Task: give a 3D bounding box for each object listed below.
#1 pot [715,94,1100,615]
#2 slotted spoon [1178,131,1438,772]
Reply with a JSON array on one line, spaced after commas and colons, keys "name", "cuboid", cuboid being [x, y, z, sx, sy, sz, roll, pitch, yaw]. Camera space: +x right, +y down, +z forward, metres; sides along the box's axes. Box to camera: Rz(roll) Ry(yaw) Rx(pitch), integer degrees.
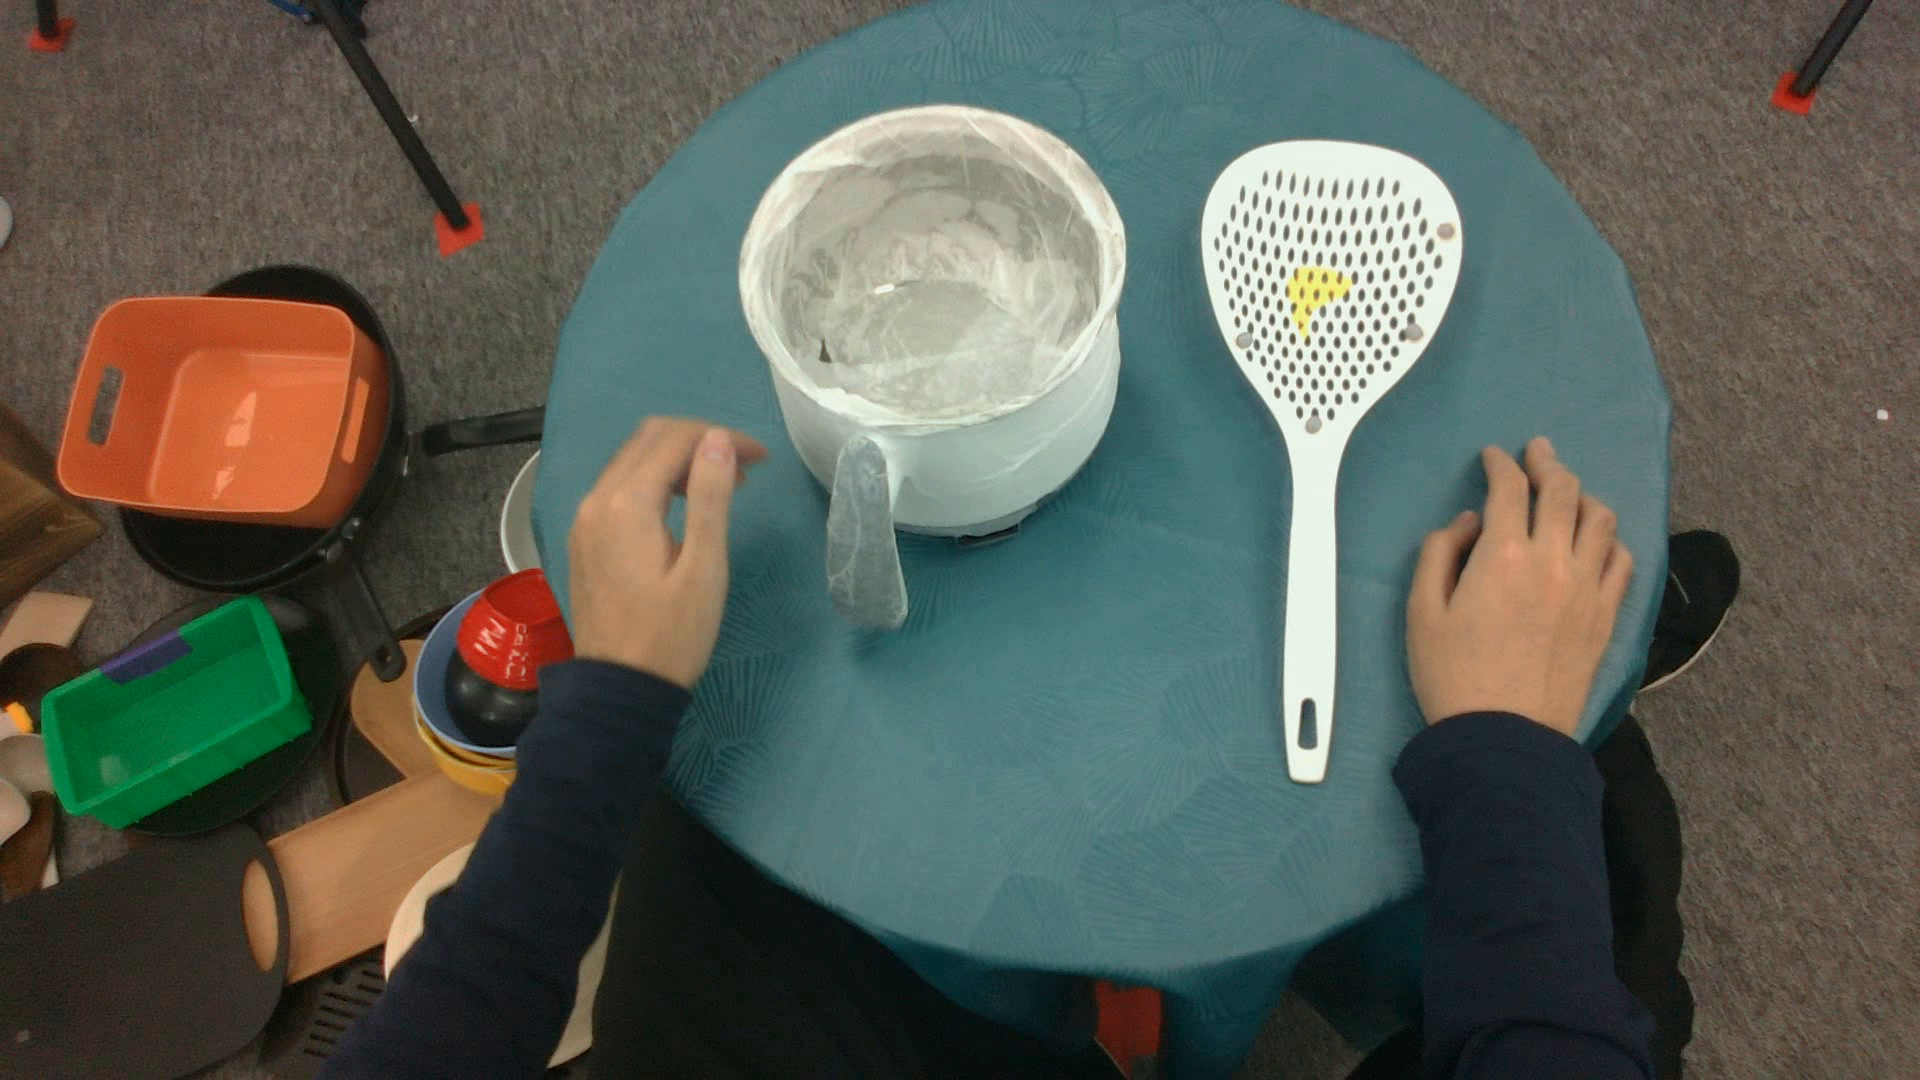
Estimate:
[{"name": "pot", "cuboid": [-0.026, -0.085, 0.672, 0.178, 0.136, 0.234, 11, 65, 11]}, {"name": "slotted spoon", "cuboid": [0.173, -0.058, 0.703, 0.137, 0.050, 0.349, 5, 65, 4]}]
